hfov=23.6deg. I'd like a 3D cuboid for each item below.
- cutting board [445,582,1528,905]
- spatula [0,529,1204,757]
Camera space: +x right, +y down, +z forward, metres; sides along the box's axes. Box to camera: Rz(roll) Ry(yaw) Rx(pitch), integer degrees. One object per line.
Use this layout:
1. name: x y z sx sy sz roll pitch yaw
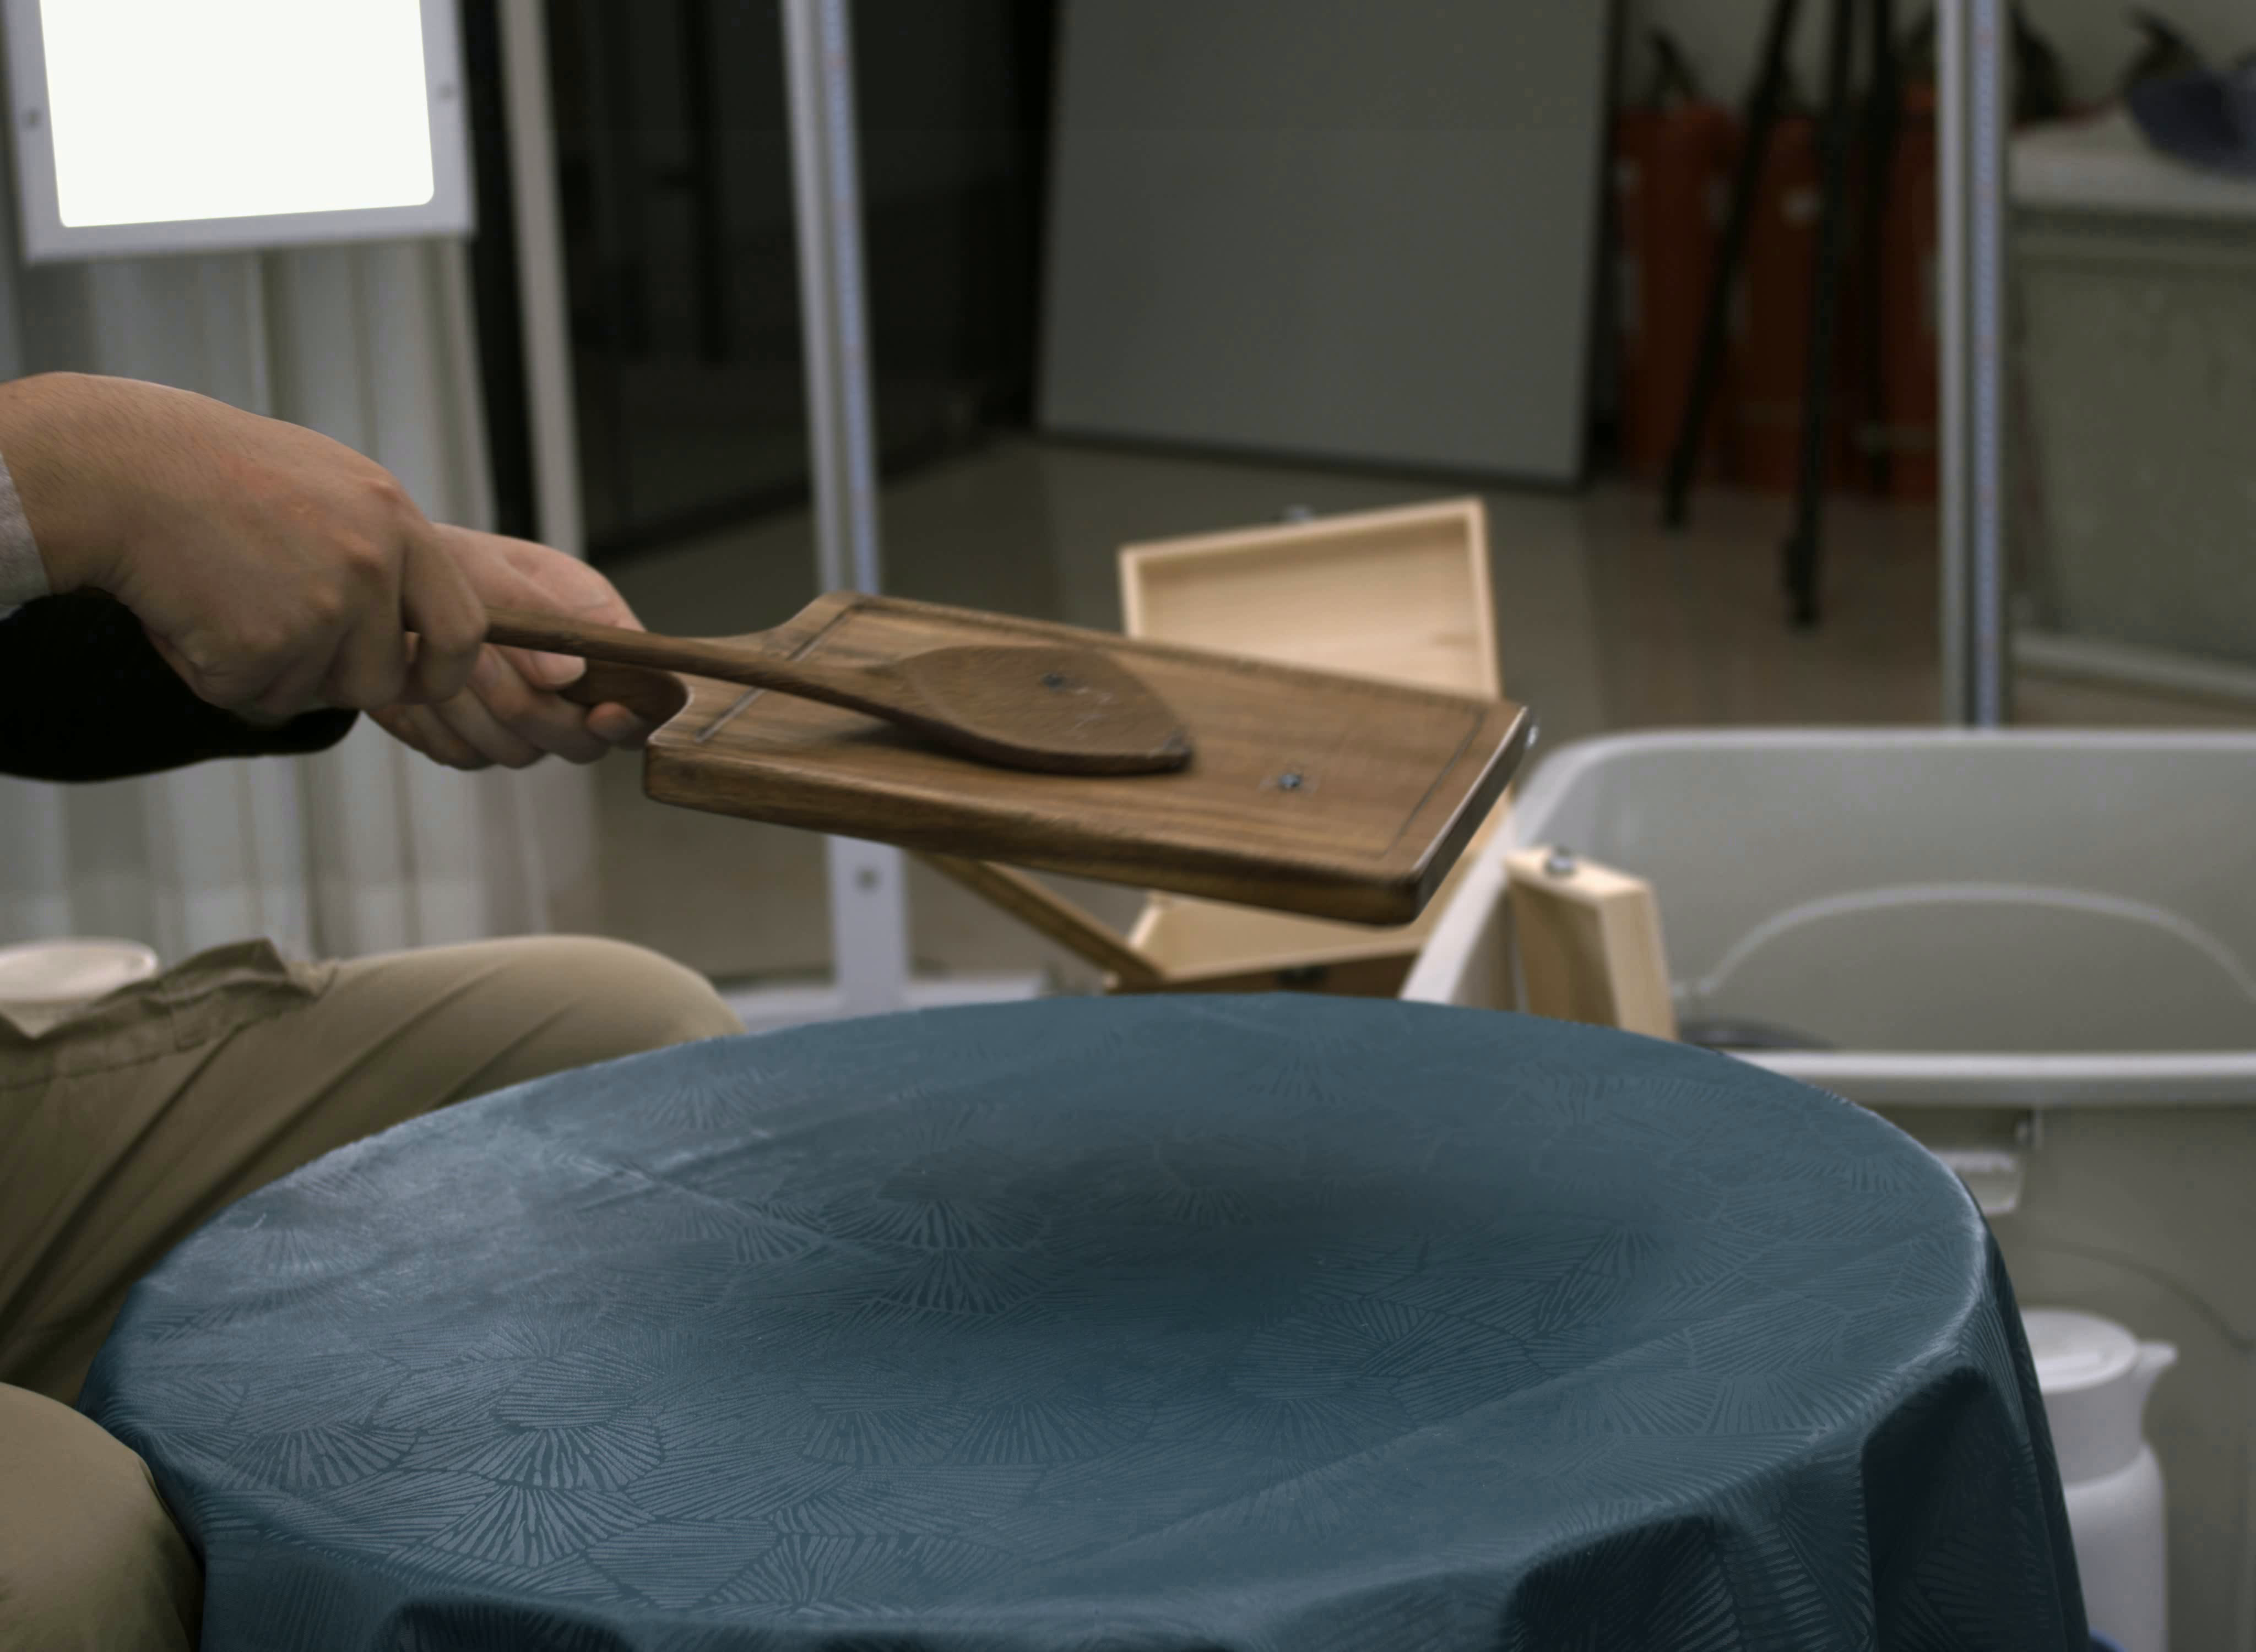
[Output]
1. cutting board: -0.055 -0.037 1.744 0.350 0.023 0.199 8 19 14
2. spatula: -0.157 -0.059 1.673 0.377 0.016 0.097 8 20 -21
